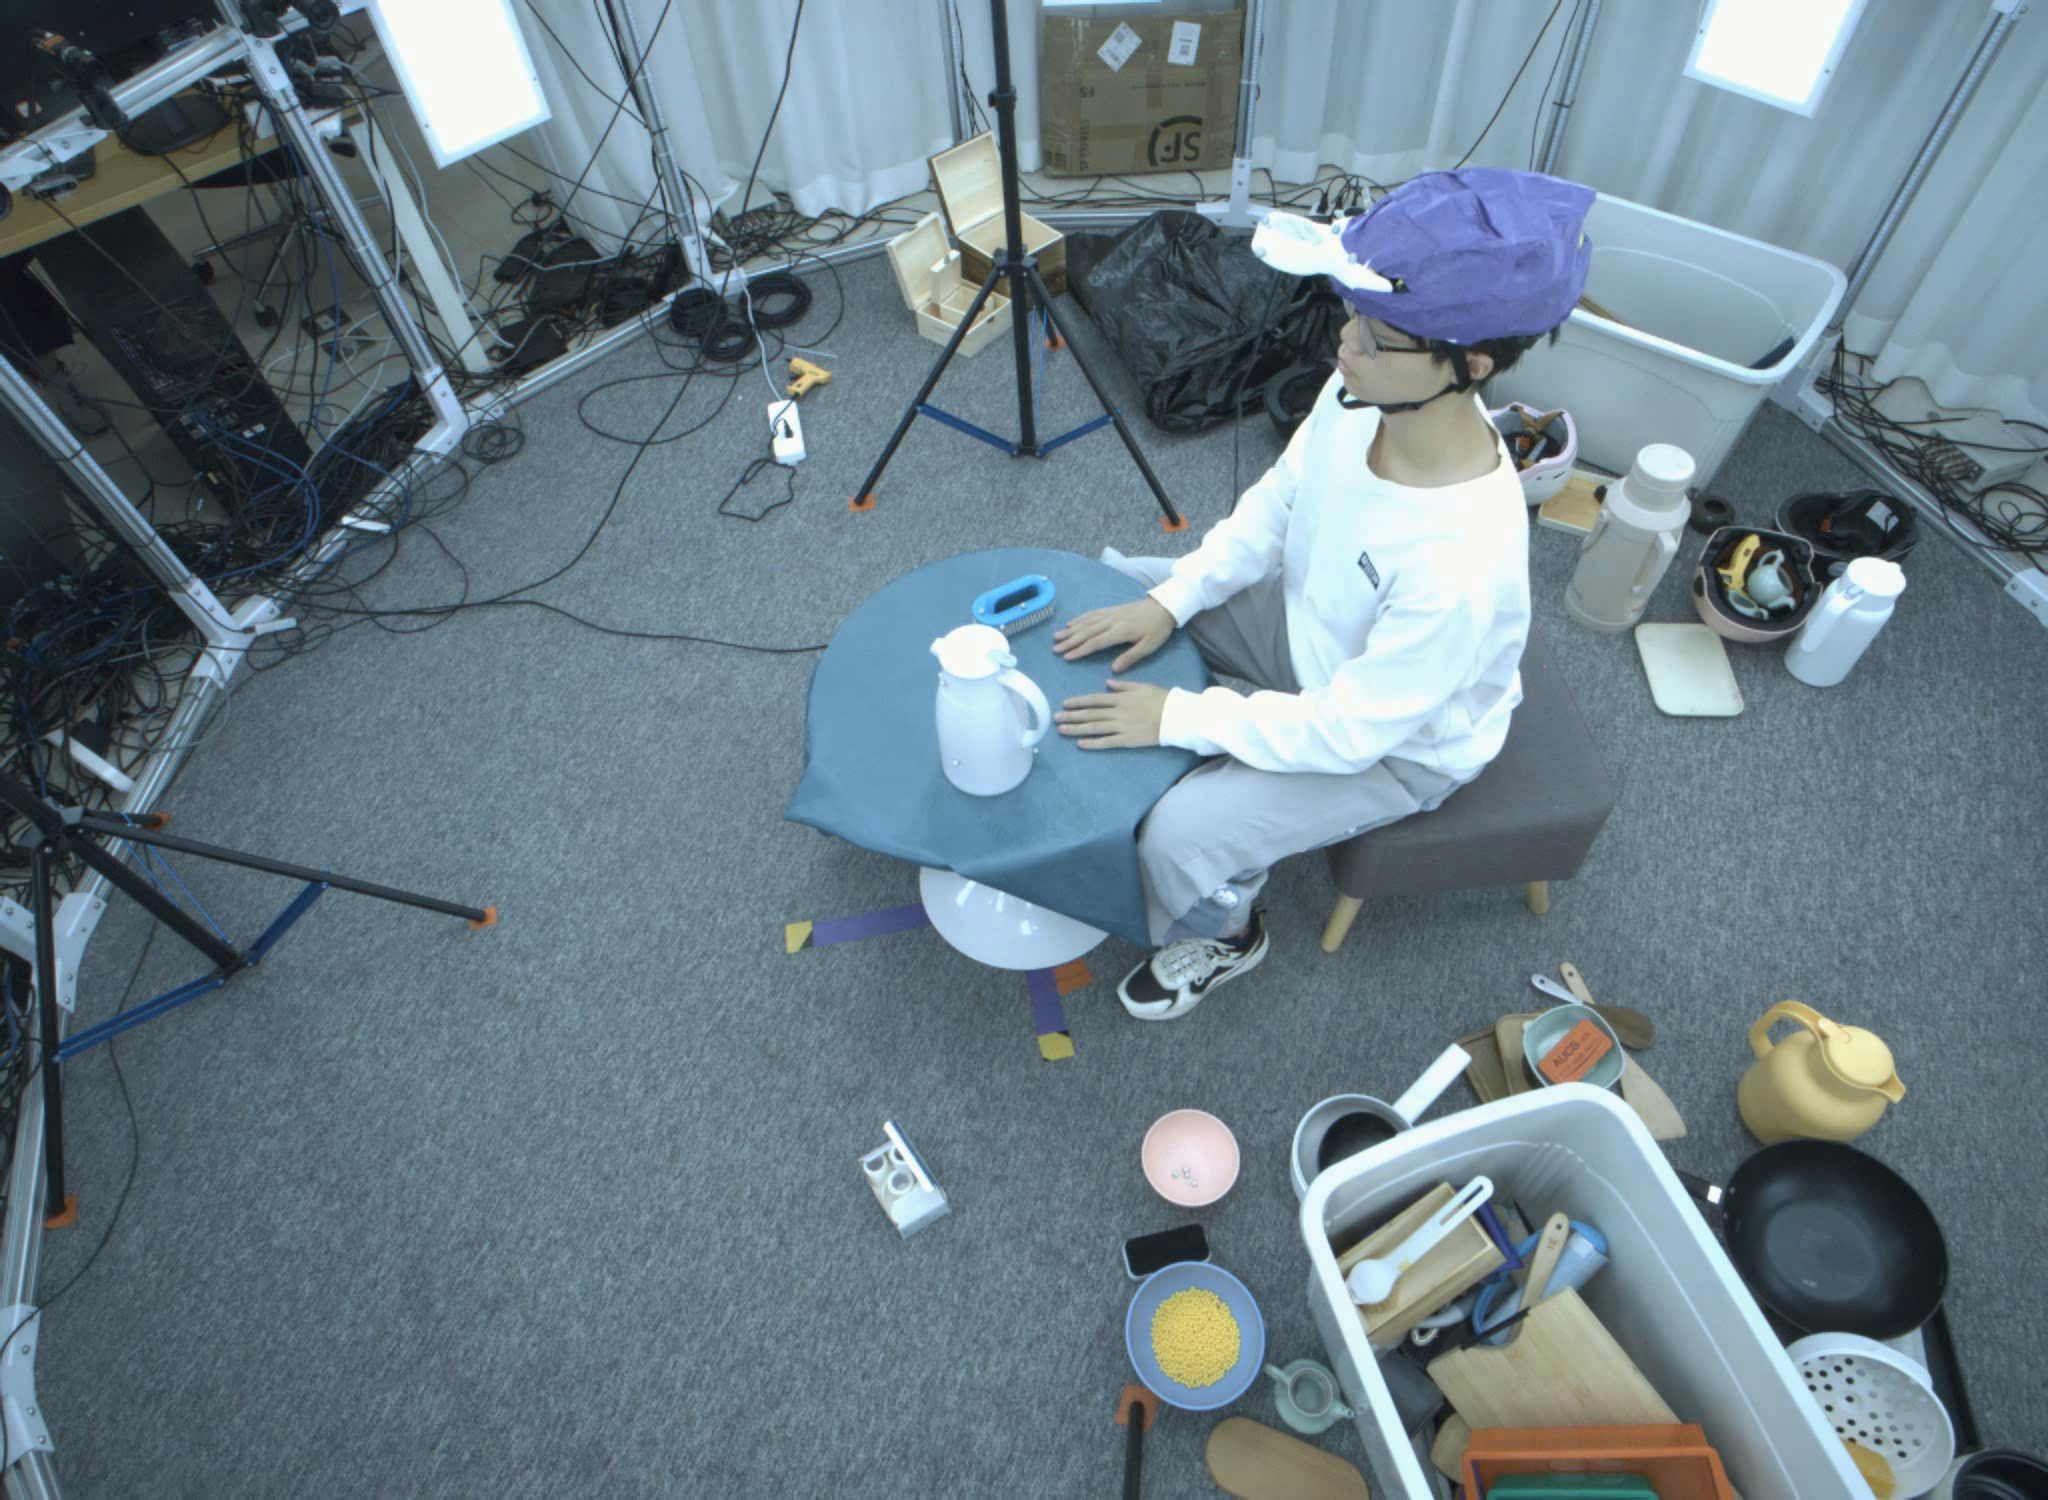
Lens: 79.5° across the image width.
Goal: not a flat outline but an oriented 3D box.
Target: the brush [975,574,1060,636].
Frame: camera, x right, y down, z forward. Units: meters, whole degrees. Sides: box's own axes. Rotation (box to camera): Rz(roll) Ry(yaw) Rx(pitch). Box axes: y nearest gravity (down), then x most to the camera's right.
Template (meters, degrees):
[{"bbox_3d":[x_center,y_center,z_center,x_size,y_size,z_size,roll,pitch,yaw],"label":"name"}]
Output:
[{"bbox_3d":[-0.013,-0.236,1.914,0.143,0.064,0.082,-23,52,-15],"label":"brush"}]

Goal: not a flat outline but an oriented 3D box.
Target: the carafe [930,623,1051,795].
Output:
[{"bbox_3d":[-0.041,-0.056,1.671,0.166,0.251,0.132,20,58,16],"label":"carafe"}]
